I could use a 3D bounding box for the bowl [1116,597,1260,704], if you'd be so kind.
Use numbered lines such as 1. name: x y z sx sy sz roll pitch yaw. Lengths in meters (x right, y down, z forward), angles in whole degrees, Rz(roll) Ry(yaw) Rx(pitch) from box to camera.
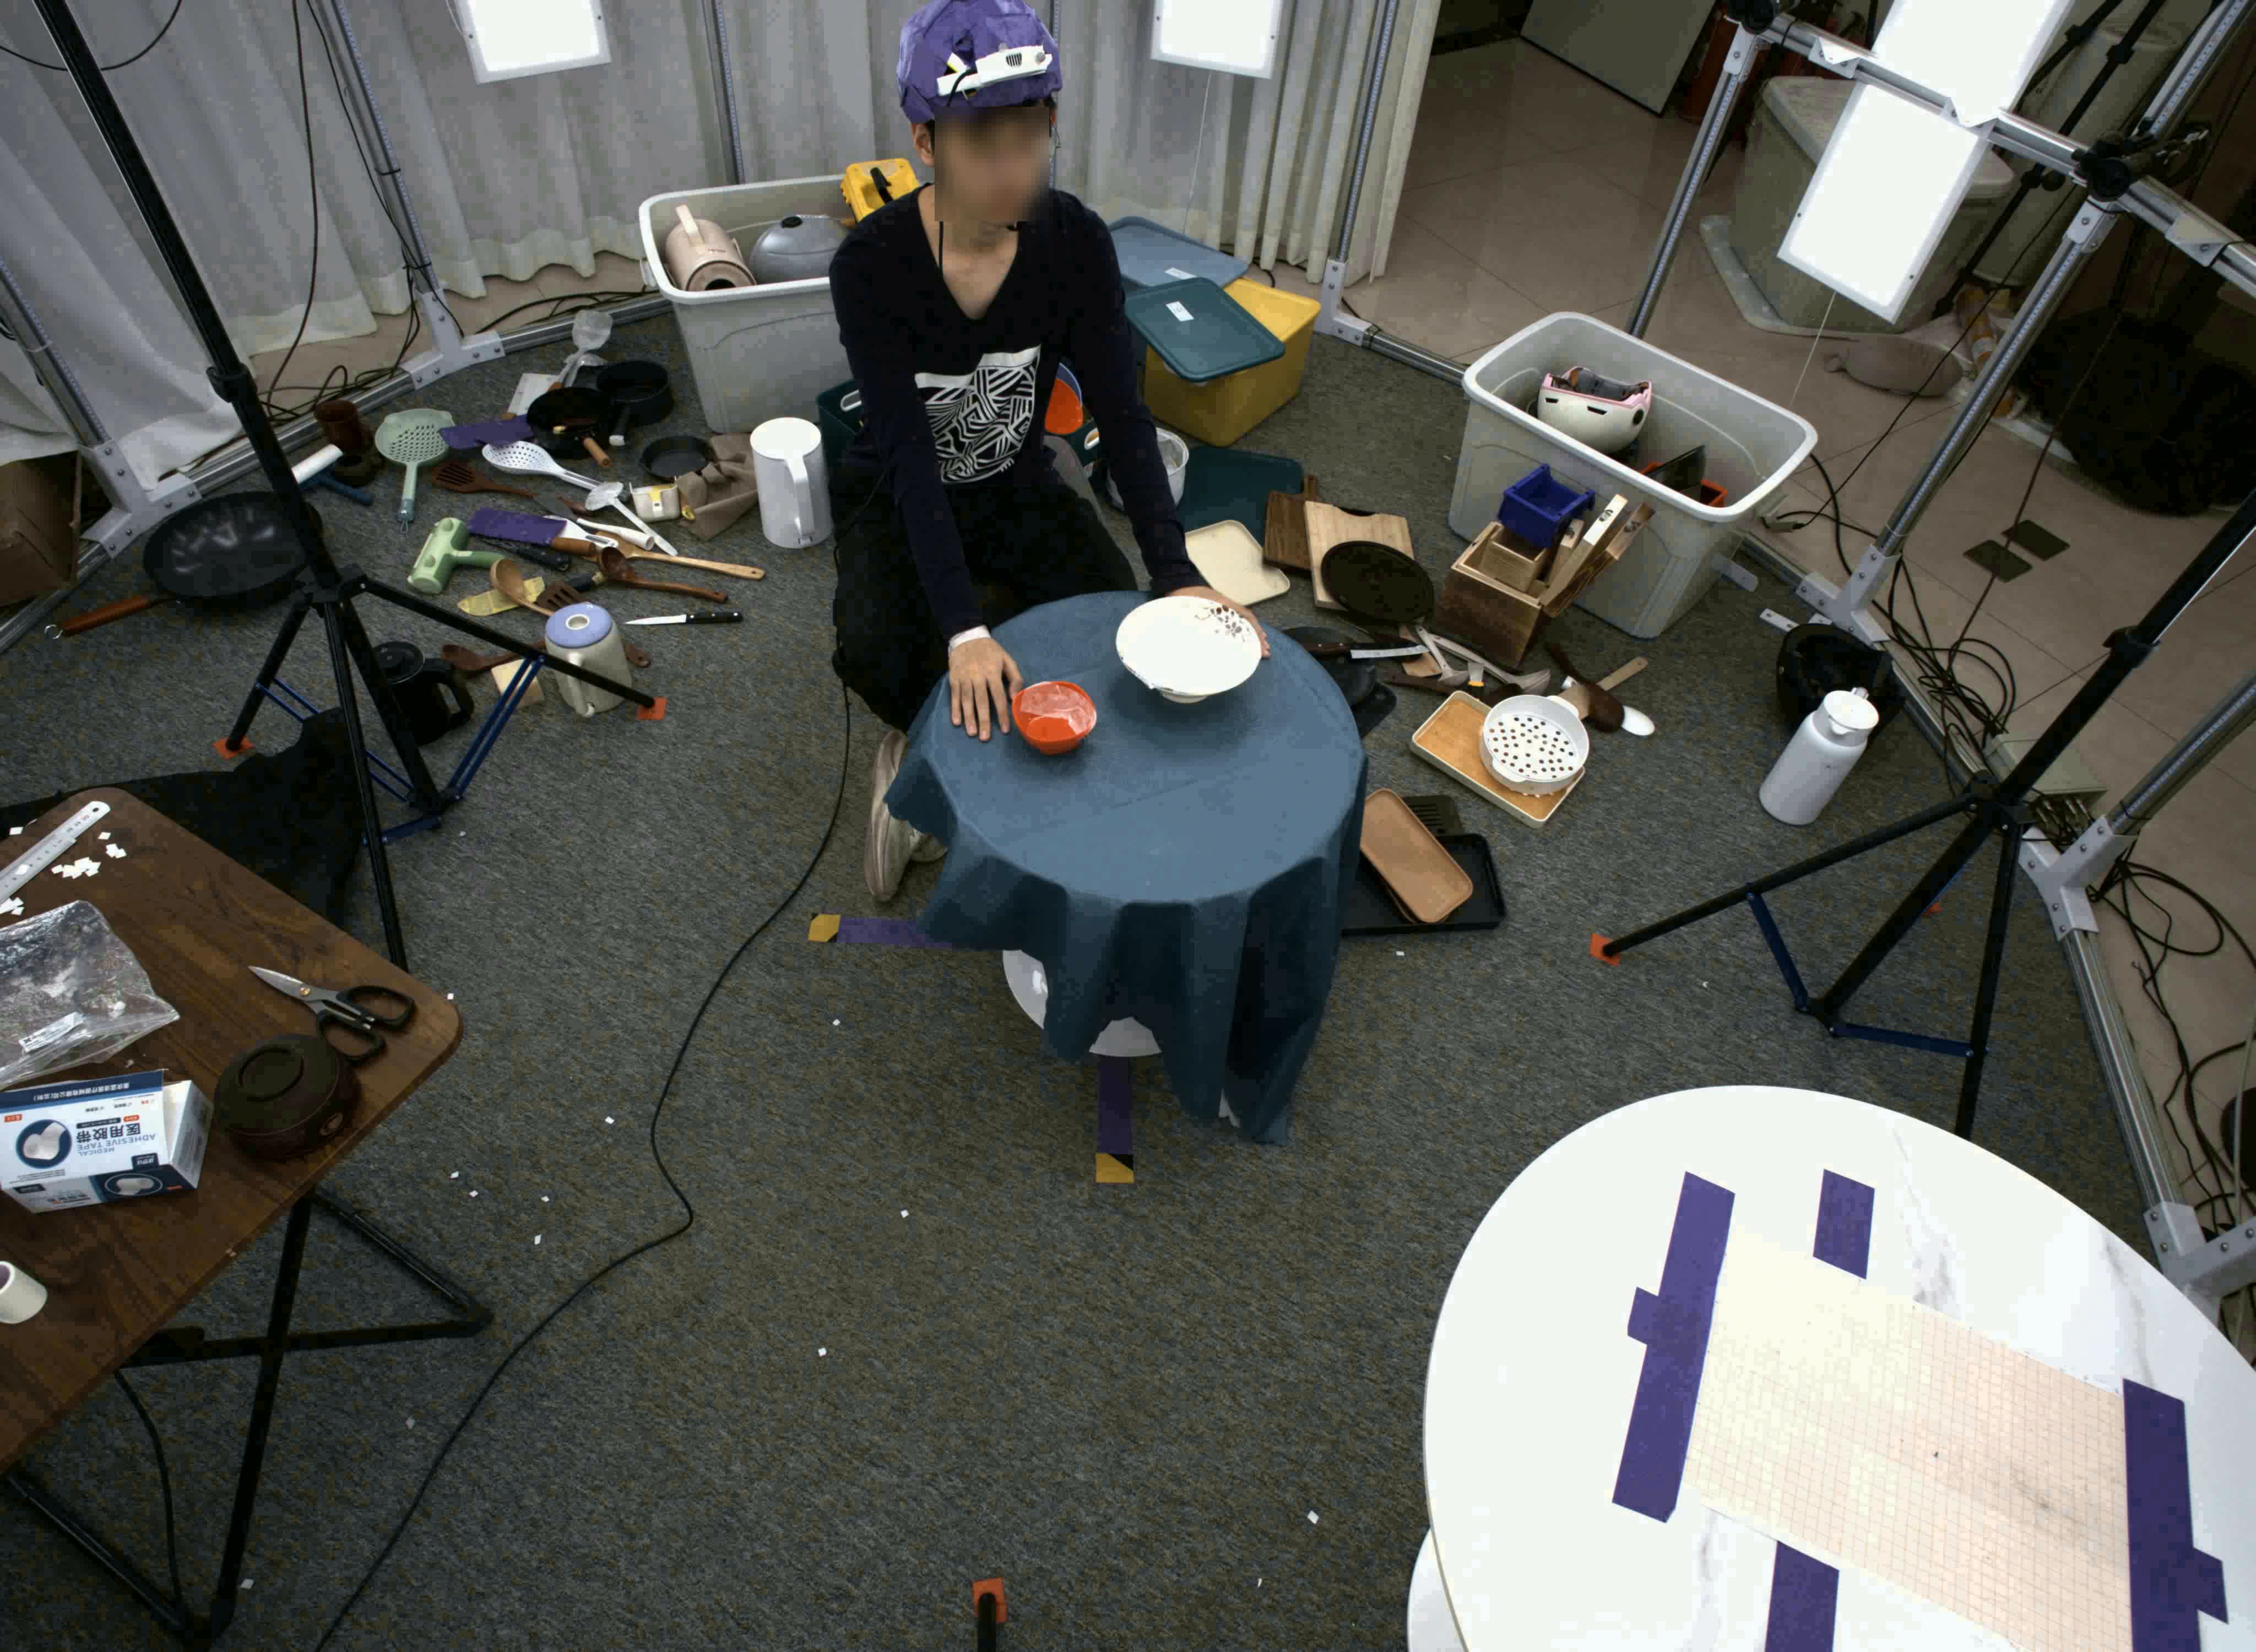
1. bowl: 0.082 -0.231 1.825 0.204 0.076 0.209 2 48 -3

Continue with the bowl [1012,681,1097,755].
1. bowl: -0.101 -0.141 1.750 0.119 0.050 0.122 1 50 -2
